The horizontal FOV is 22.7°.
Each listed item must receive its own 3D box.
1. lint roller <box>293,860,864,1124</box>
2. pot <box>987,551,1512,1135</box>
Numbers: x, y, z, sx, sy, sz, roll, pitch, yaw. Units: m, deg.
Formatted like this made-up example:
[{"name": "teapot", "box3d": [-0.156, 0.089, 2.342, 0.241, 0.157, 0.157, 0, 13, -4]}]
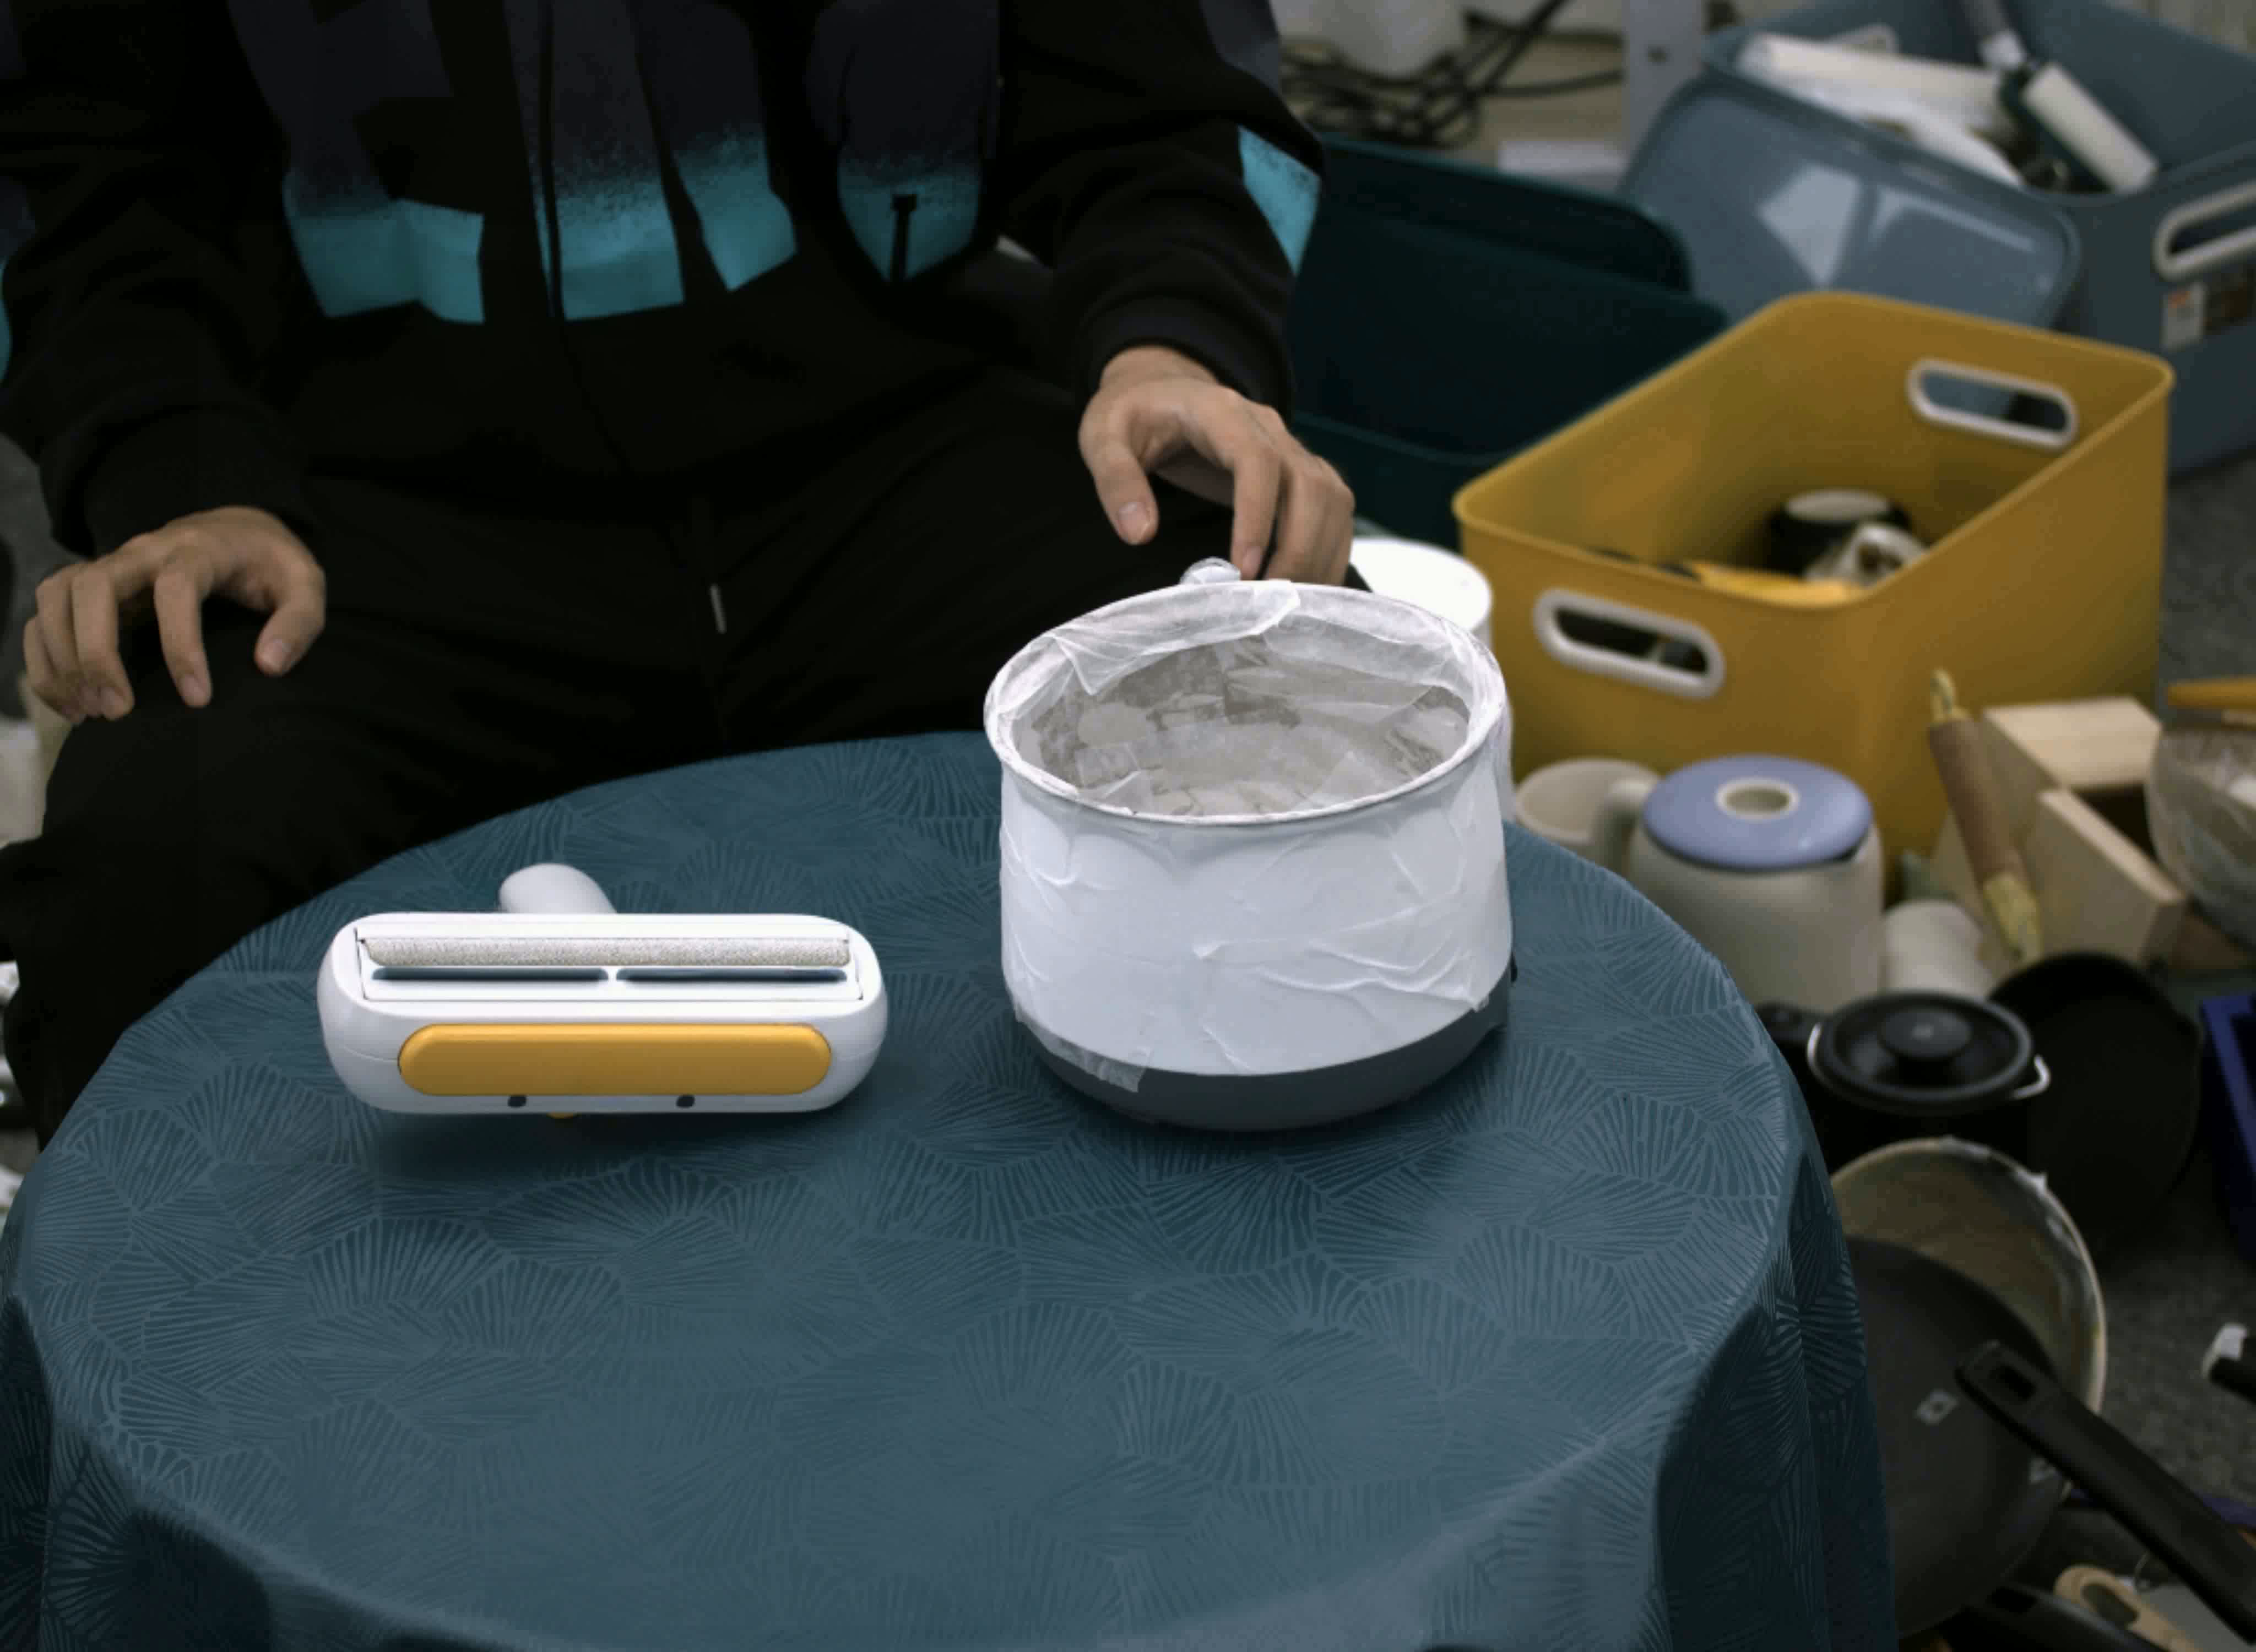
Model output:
[{"name": "lint roller", "box3d": [-0.194, 0.045, 1.953, 0.192, 0.073, 0.195, -2, 25, -9]}, {"name": "pot", "box3d": [0.039, -0.001, 1.943, 0.178, 0.135, 0.237, -4, 28, -5]}]
